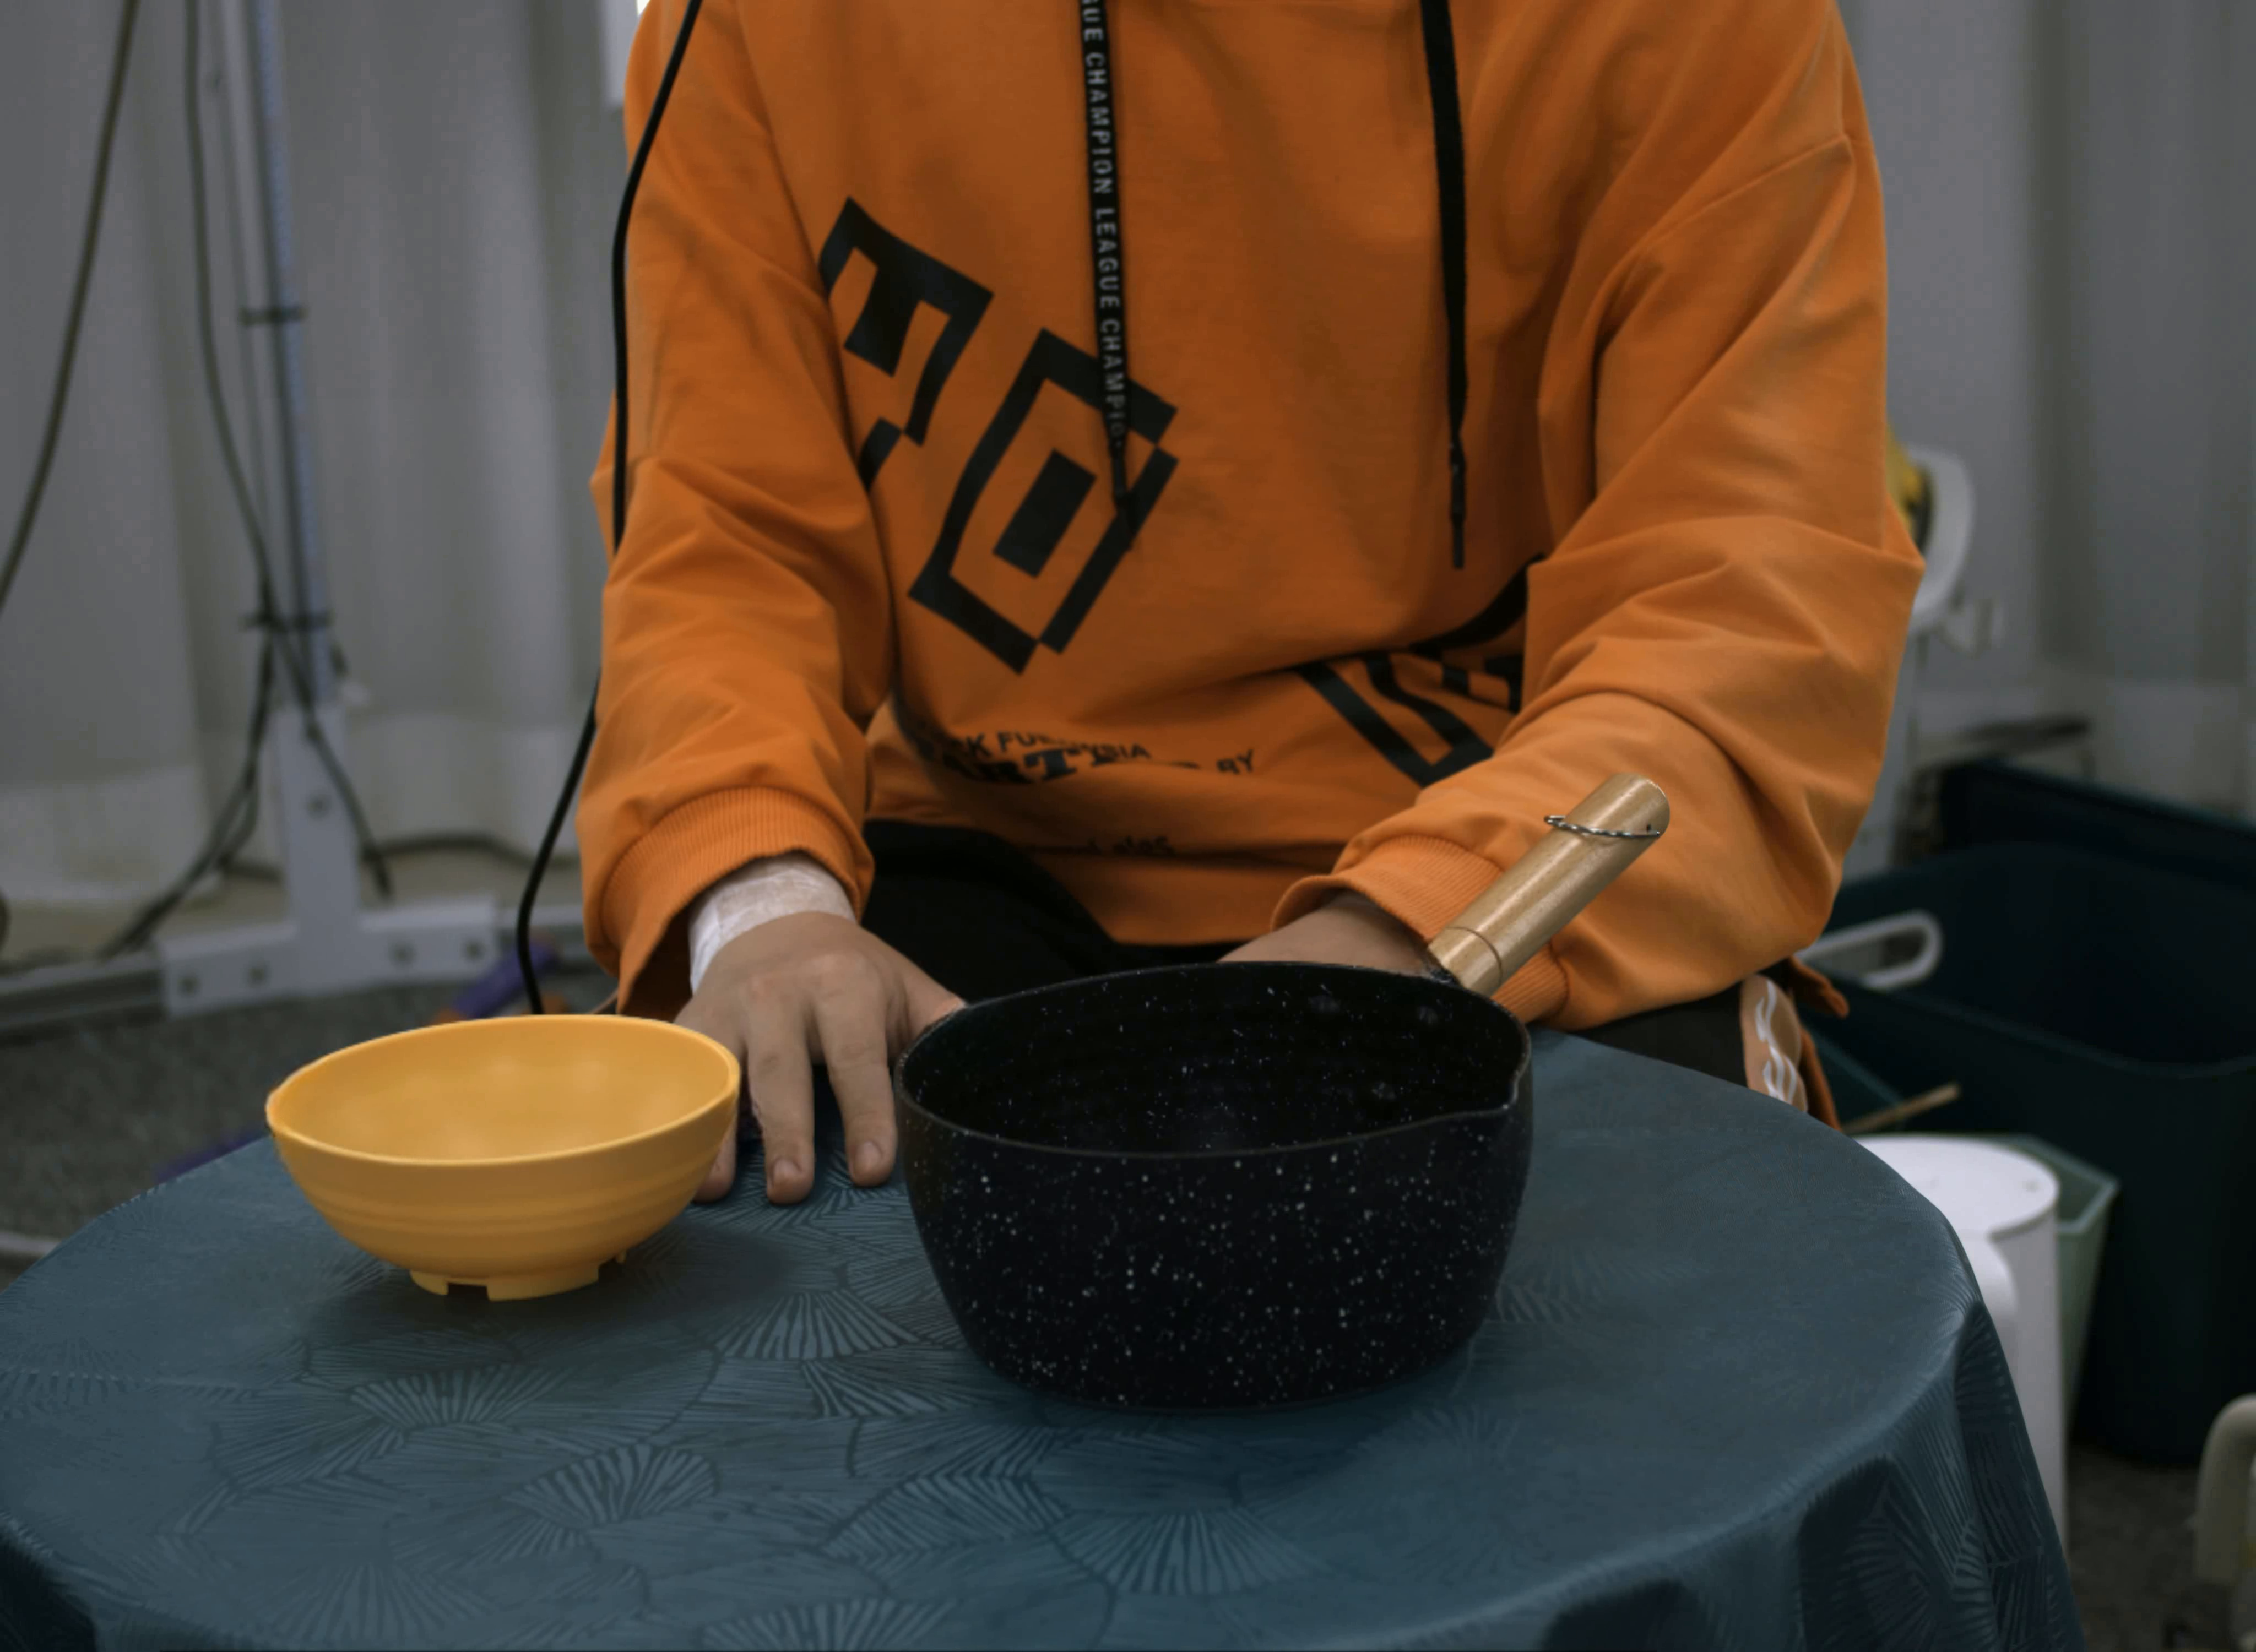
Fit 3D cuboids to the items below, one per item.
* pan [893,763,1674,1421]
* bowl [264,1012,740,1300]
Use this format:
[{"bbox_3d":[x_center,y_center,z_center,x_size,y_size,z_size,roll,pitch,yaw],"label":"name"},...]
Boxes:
[{"bbox_3d":[0.070,0.075,1.642,0.208,0.108,0.343,5,18,34],"label":"pan"},{"bbox_3d":[-0.189,0.107,1.672,0.145,0.060,0.146,-2,15,0],"label":"bowl"}]
